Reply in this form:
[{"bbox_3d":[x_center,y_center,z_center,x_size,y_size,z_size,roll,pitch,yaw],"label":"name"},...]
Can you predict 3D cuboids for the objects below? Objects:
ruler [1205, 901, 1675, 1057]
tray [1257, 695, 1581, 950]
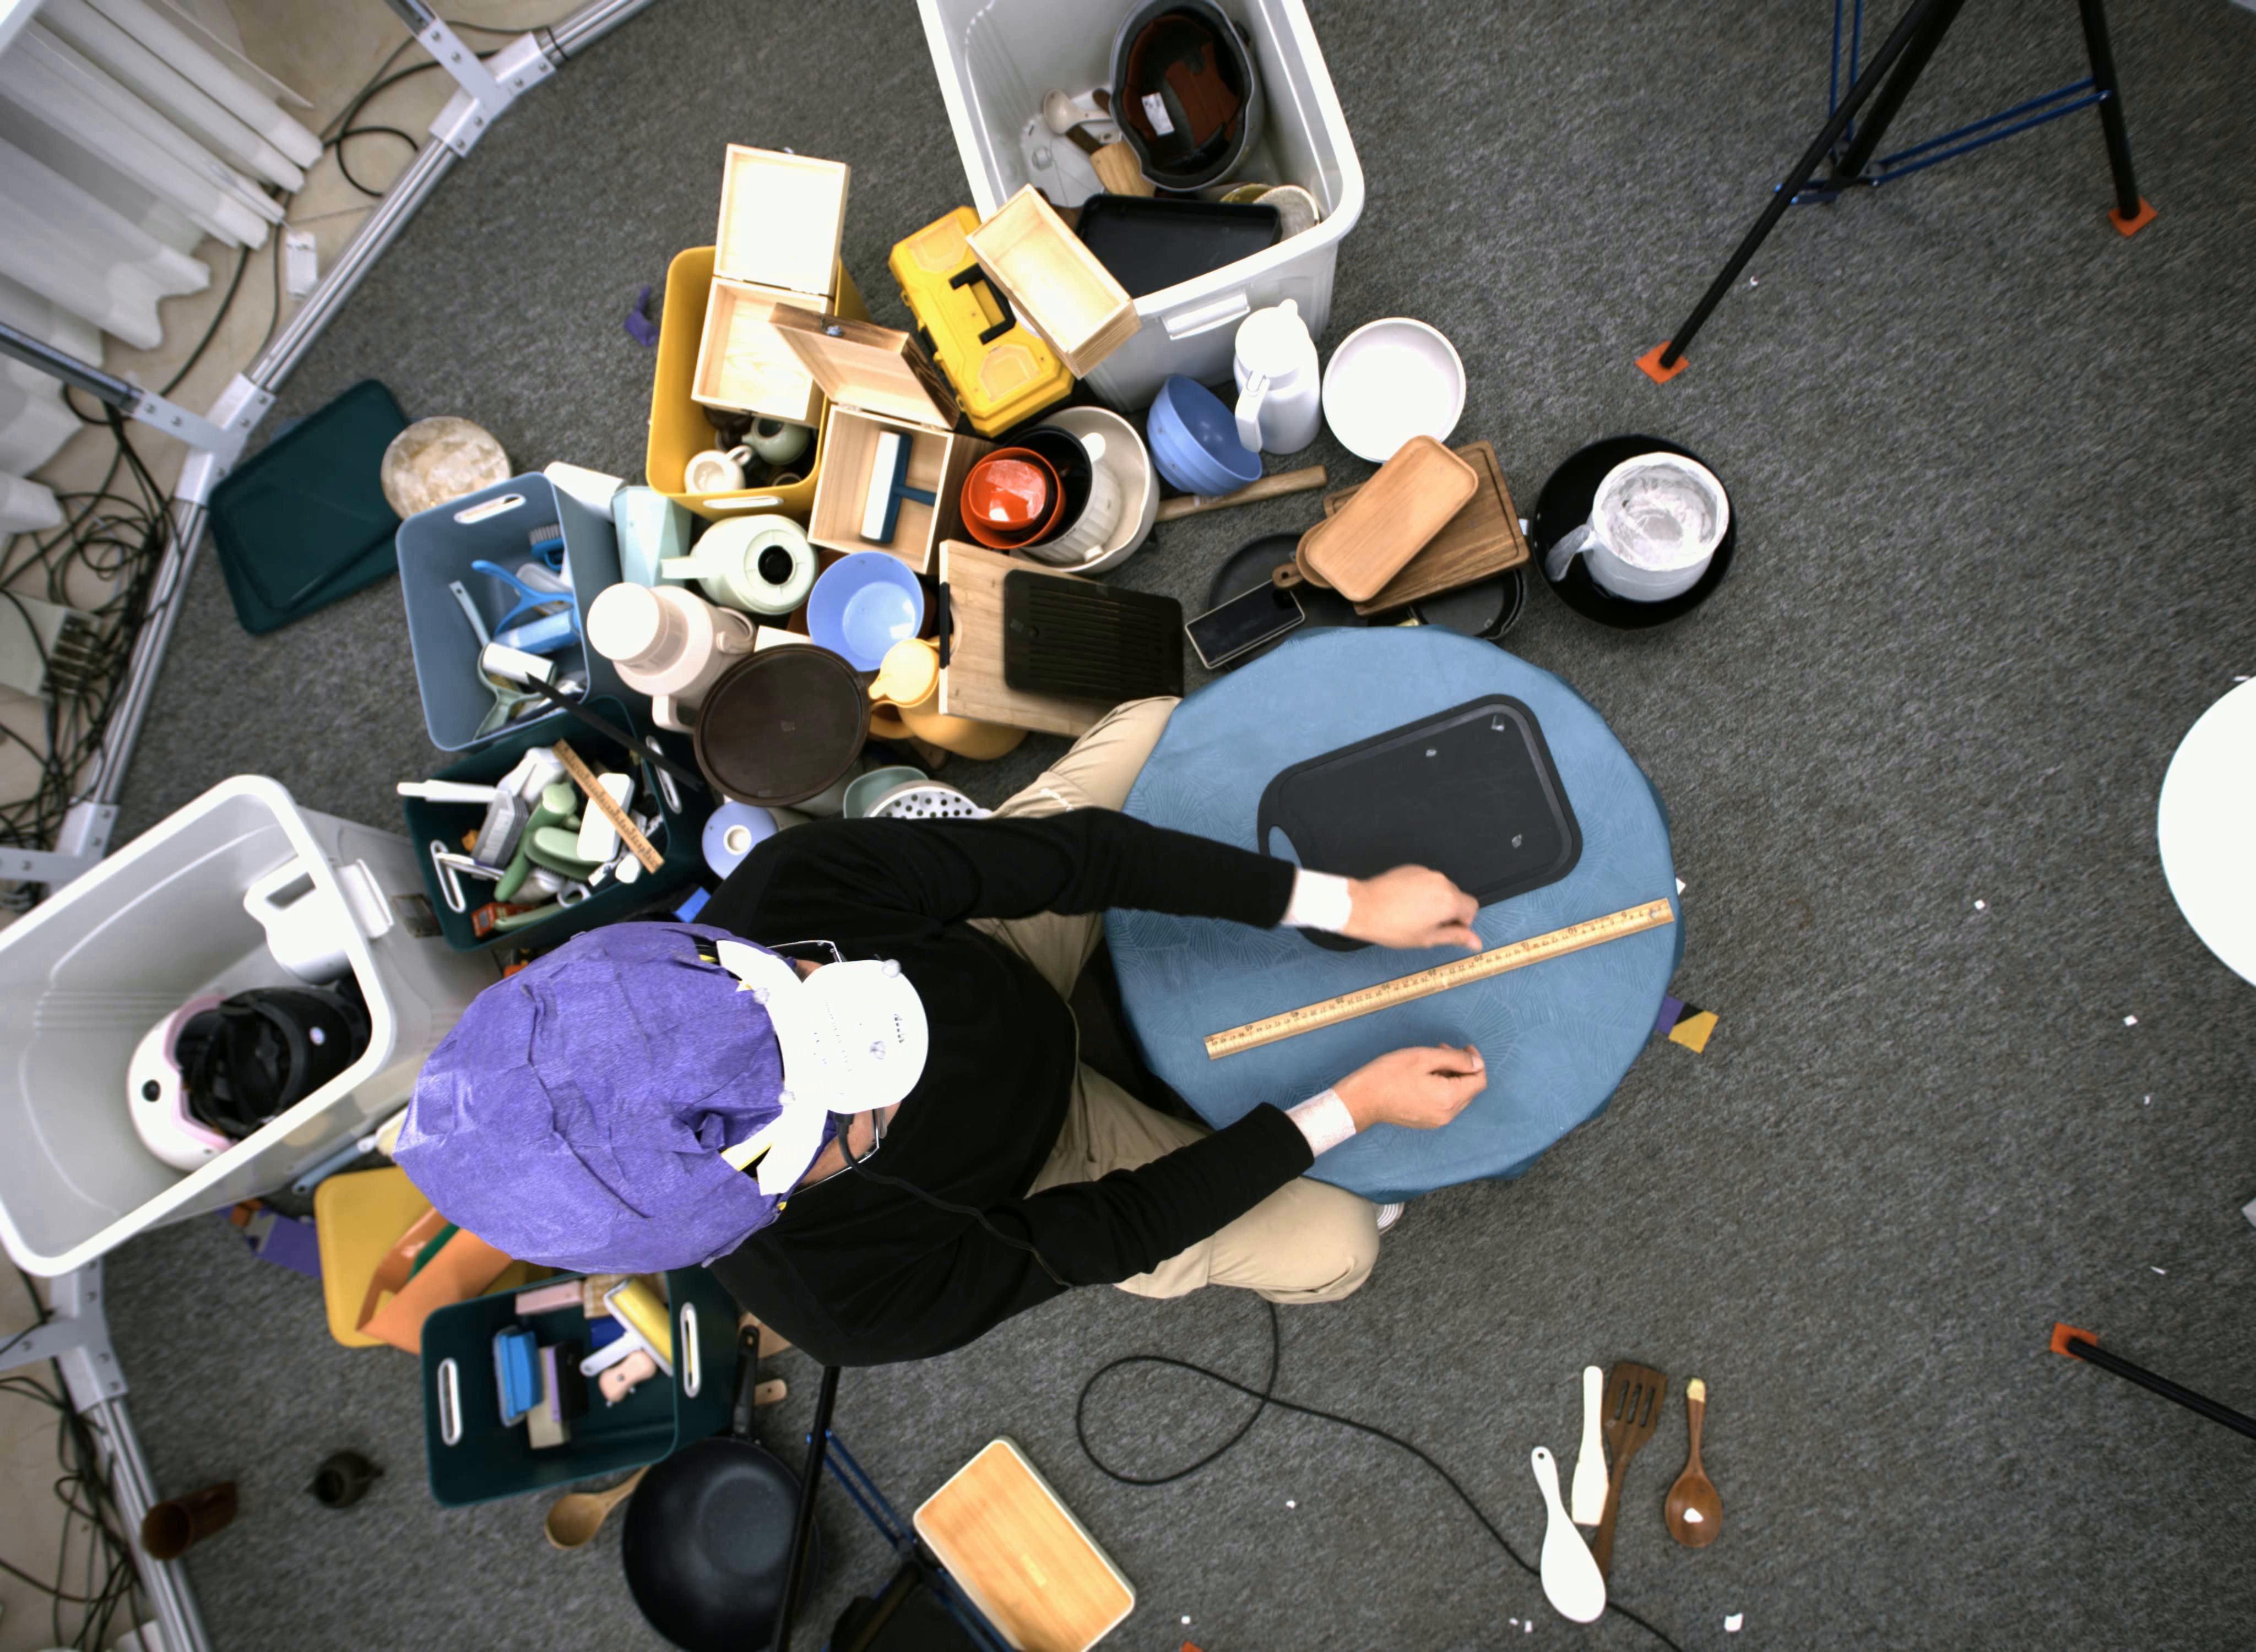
[{"bbox_3d":[0.321,0.159,1.443,0.503,0.006,0.026,-18,82,9],"label":"ruler"},{"bbox_3d":[0.299,-0.001,1.455,0.327,0.010,0.210,-19,83,9],"label":"tray"}]
